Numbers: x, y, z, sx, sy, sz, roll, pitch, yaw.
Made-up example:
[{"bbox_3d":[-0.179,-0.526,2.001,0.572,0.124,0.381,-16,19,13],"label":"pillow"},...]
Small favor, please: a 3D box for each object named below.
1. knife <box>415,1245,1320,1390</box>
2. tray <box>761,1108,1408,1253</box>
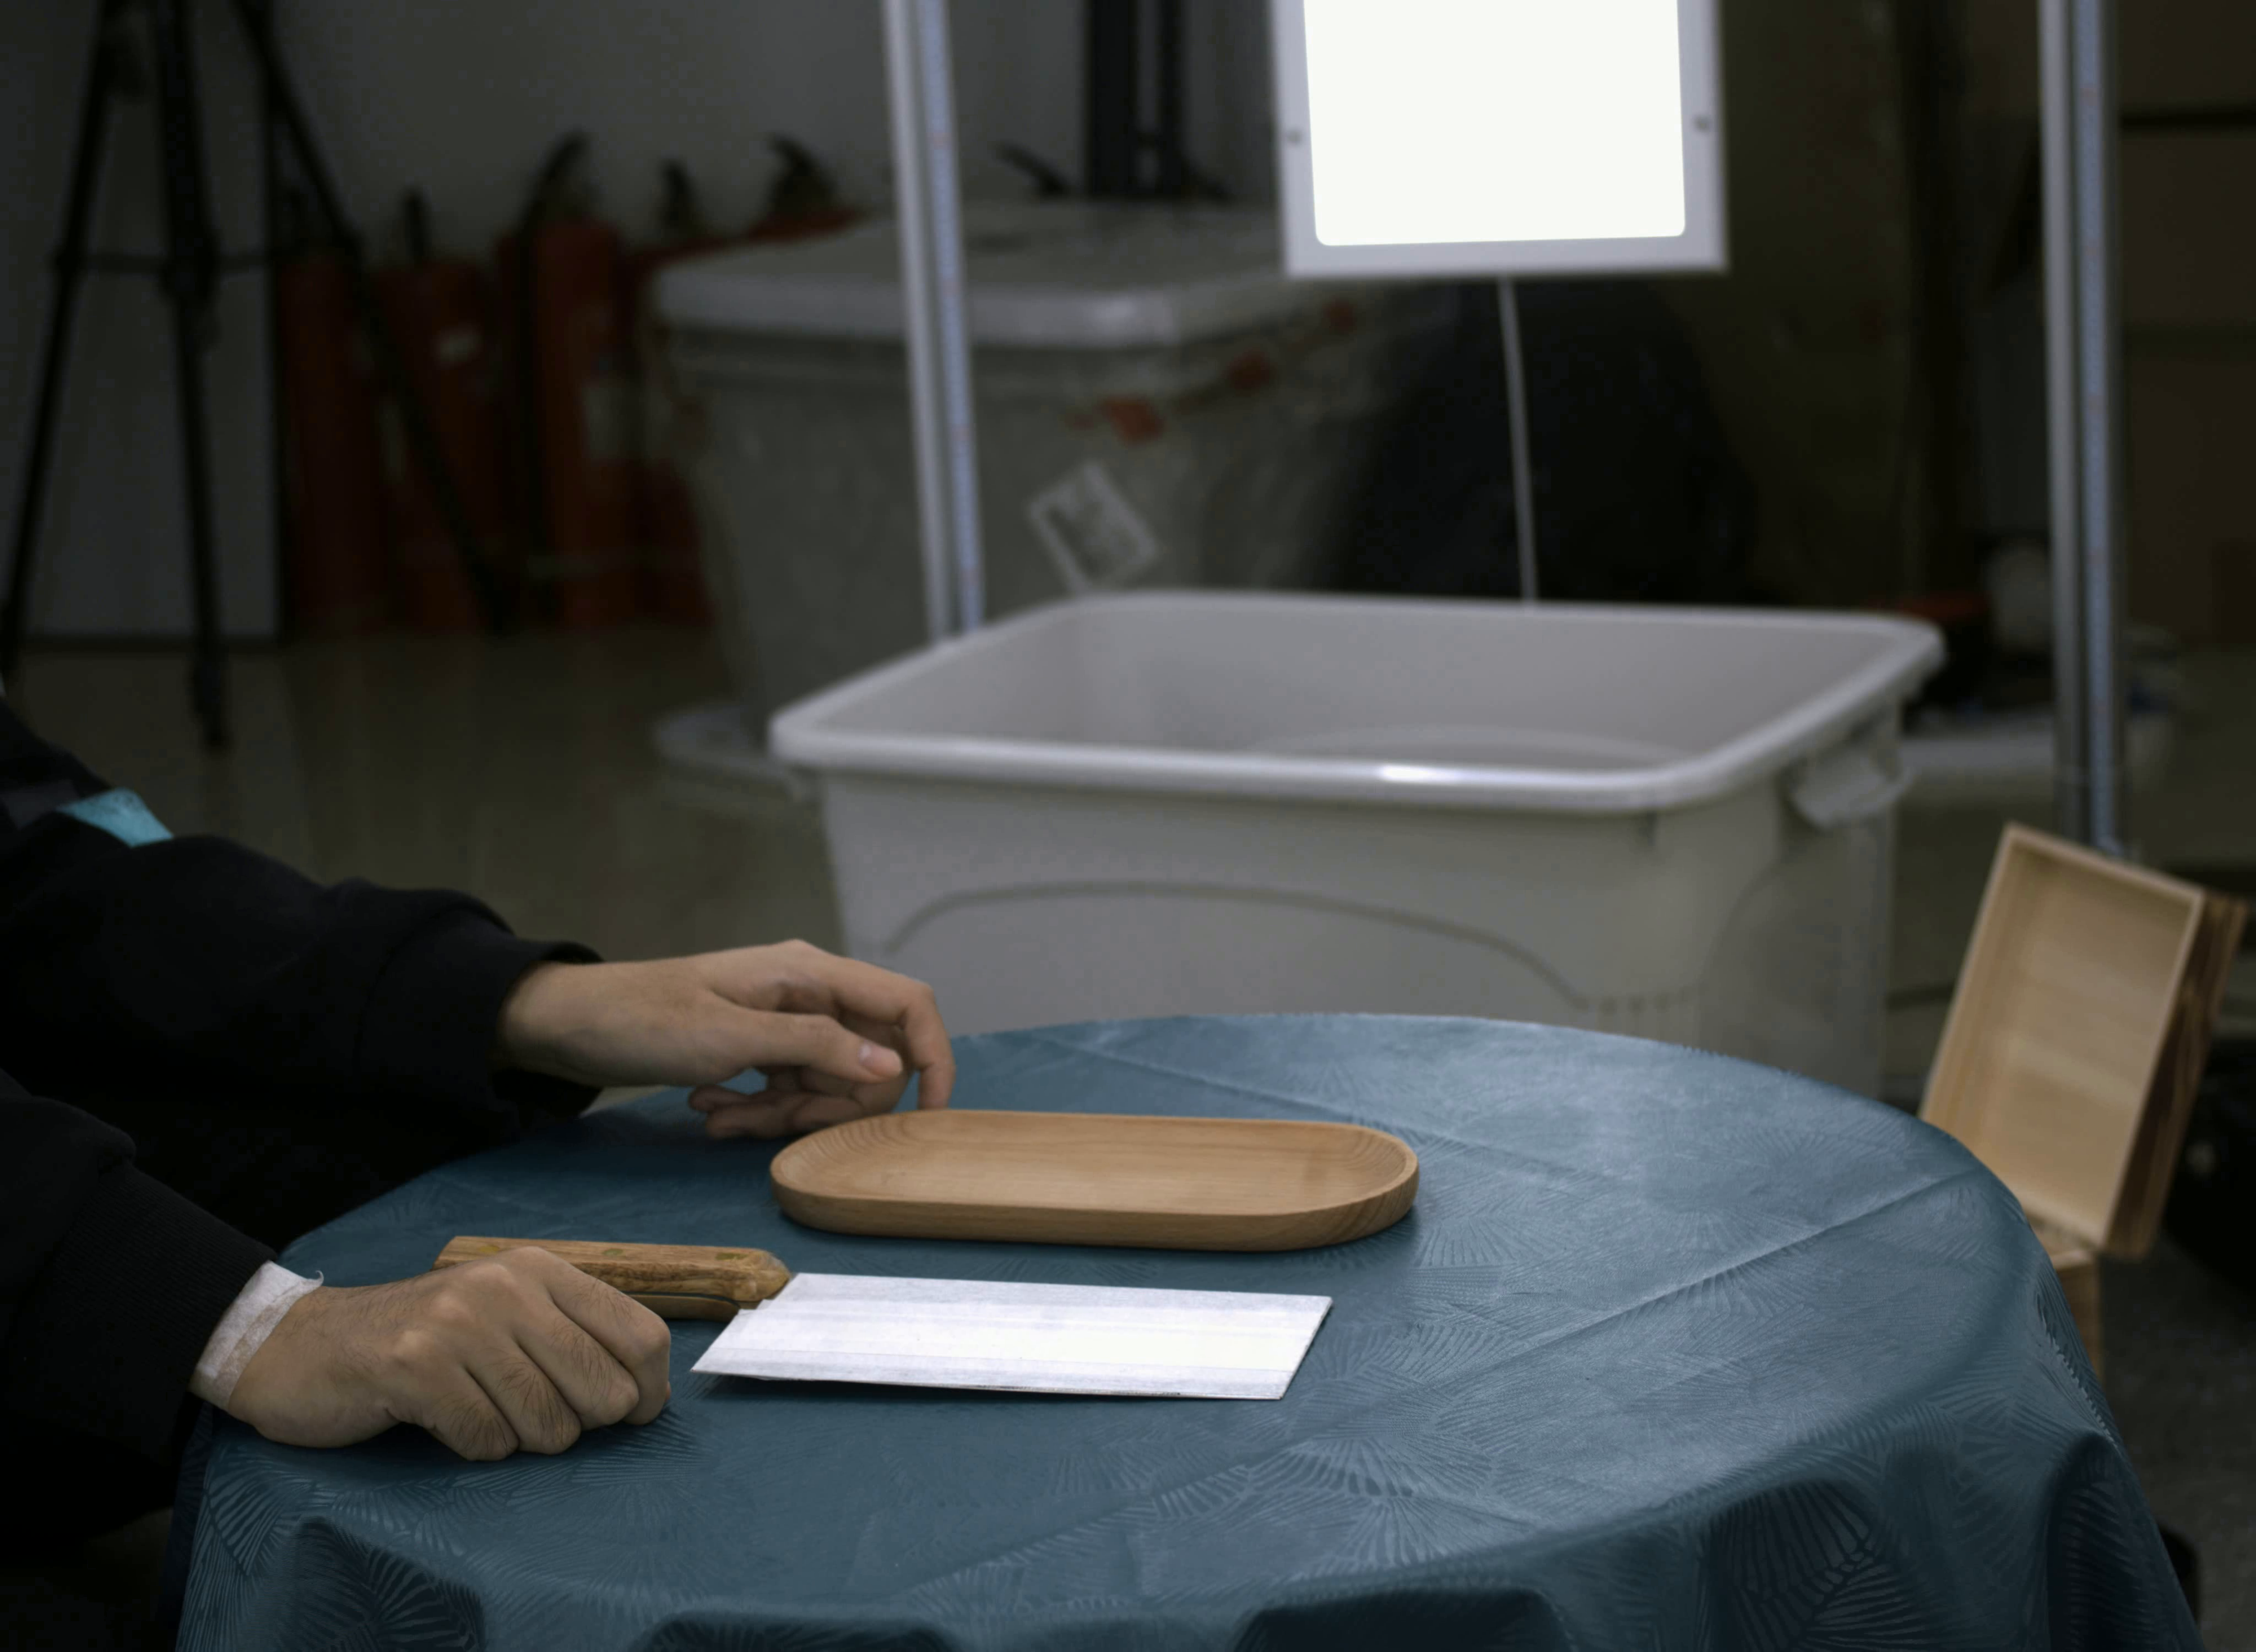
[{"bbox_3d":[-0.091,0.160,1.764,0.308,0.021,0.091,1,16,15],"label":"knife"},{"bbox_3d":[-0.016,0.121,1.888,0.234,0.020,0.100,0,14,23],"label":"tray"}]
